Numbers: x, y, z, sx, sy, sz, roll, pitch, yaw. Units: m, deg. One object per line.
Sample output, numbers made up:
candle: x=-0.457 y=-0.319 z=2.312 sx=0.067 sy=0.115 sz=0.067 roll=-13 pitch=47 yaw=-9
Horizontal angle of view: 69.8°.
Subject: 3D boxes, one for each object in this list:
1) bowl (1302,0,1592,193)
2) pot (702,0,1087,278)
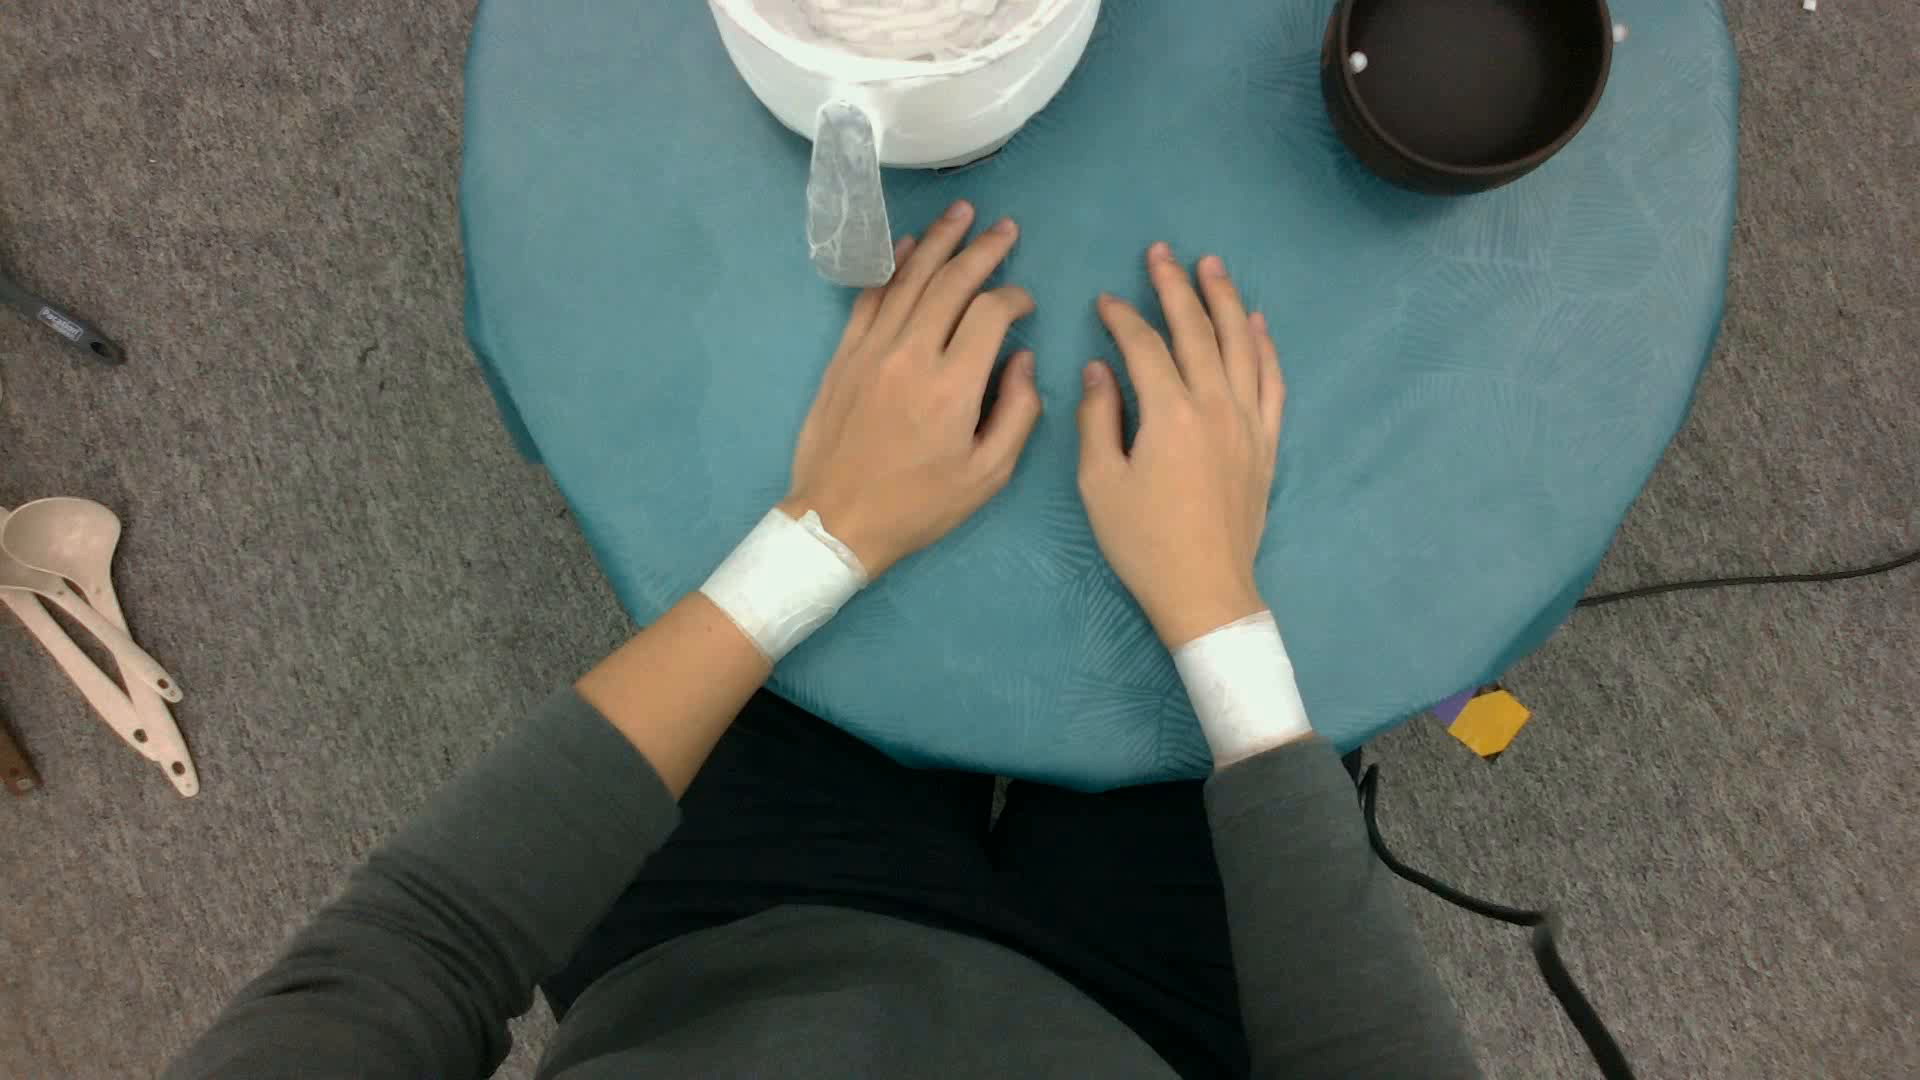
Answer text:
bowl: x=0.211 y=-0.213 z=0.616 sx=0.118 sy=0.070 sz=0.118 roll=0 pitch=91 yaw=0
pot: x=-0.033 y=-0.233 z=0.584 sx=0.179 sy=0.136 sz=0.233 roll=9 pitch=89 yaw=1
